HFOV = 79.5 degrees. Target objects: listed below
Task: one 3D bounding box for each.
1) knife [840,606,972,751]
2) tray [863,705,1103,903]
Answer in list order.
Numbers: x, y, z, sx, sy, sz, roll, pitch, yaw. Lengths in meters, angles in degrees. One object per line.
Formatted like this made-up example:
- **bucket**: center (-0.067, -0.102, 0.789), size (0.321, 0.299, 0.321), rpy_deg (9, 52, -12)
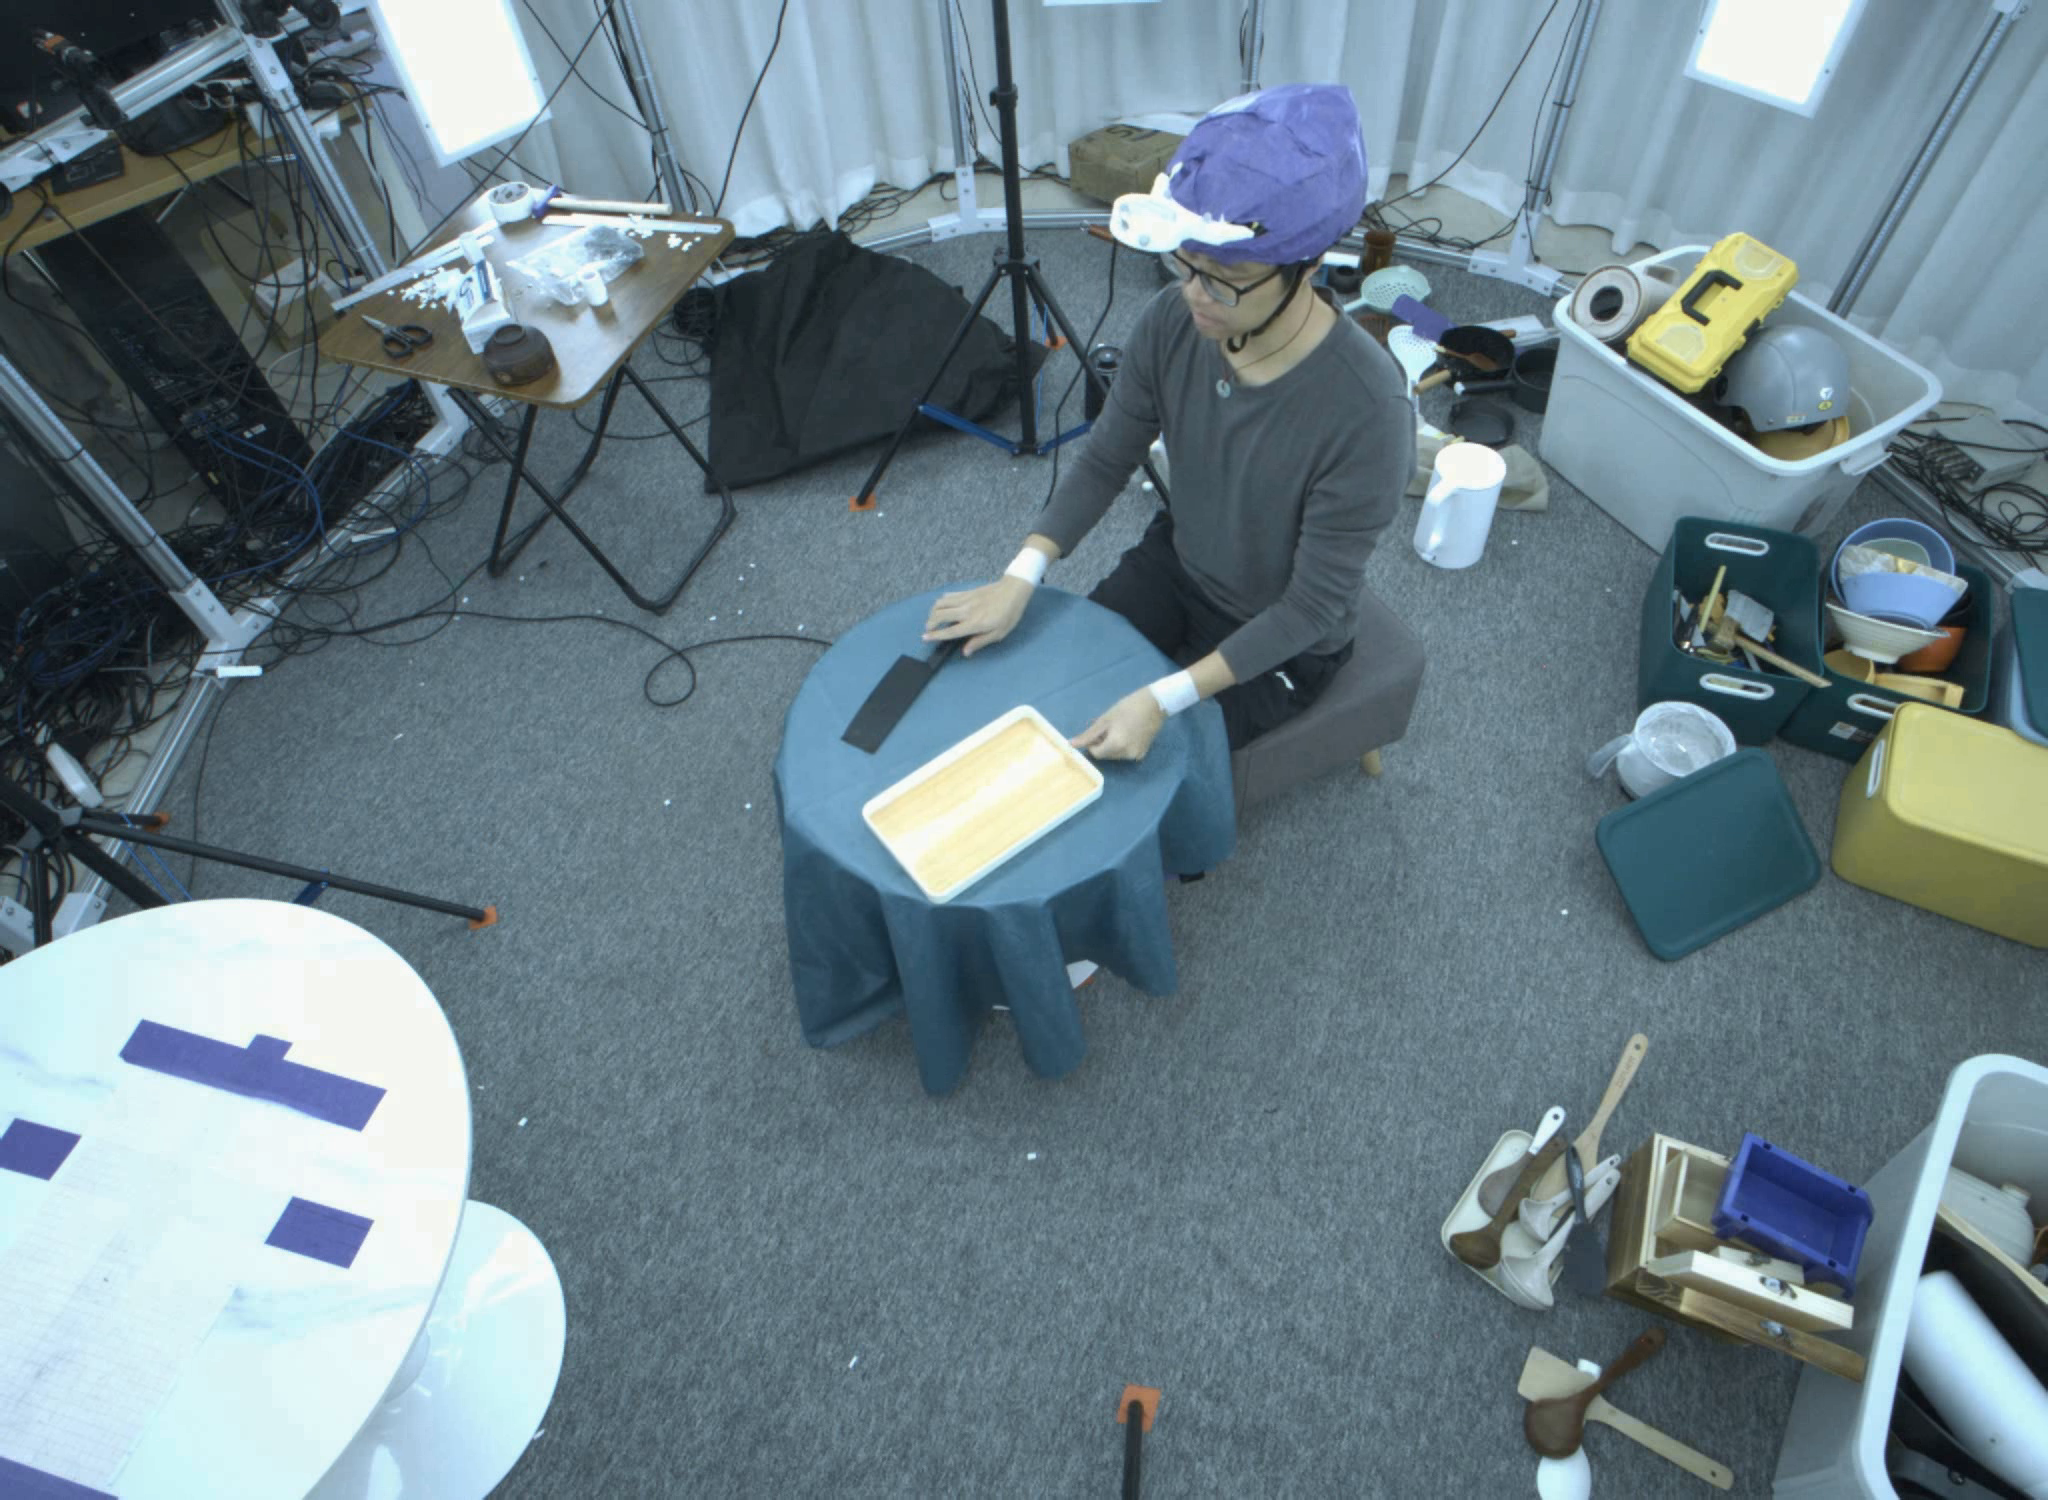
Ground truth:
- **knife**: center (-0.174, -0.116, 1.874), size (0.079, 0.021, 0.303), rpy_deg (27, 61, 21)
- **tray**: center (-0.056, 0.070, 1.730), size (0.303, 0.028, 0.188), rpy_deg (-33, 60, -20)
